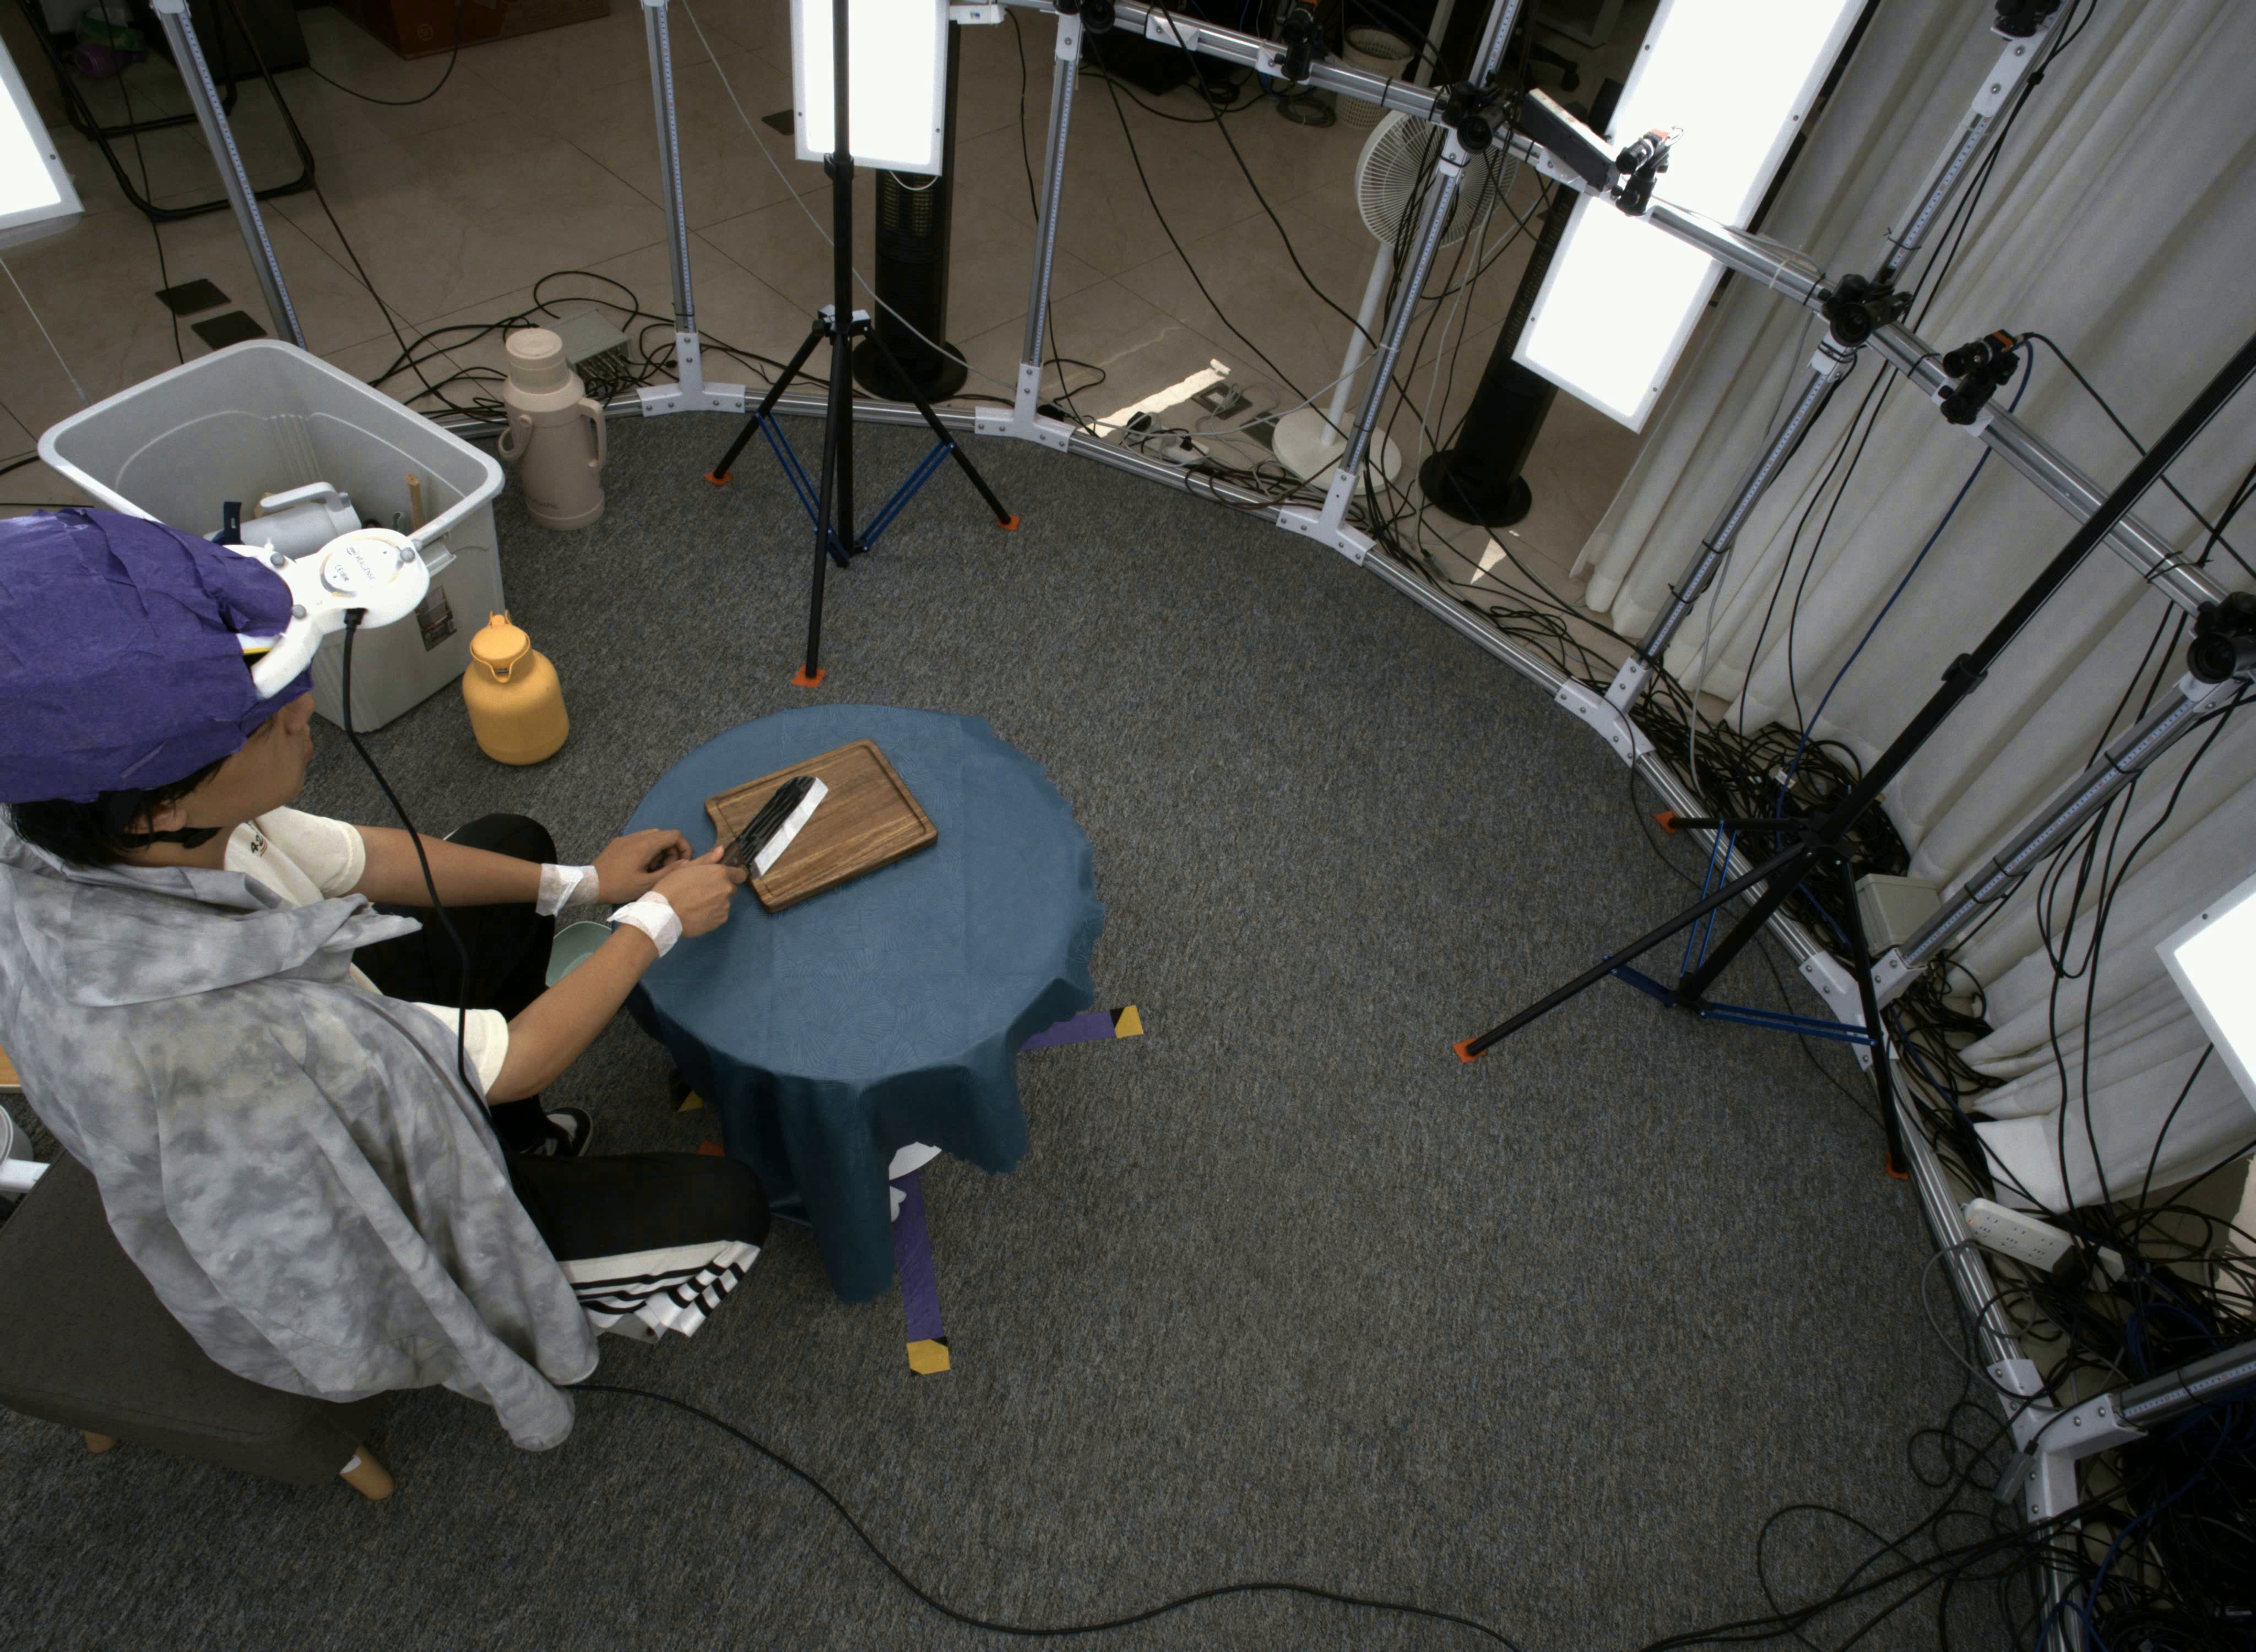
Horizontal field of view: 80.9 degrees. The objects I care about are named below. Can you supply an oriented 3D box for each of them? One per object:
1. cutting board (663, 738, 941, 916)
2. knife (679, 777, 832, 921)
[{"bbox_3d":[-0.442,0.012,1.699,0.353,0.023,0.196,-25,63,-28],"label":"cutting board"},{"bbox_3d":[-0.461,0.028,1.630,0.023,0.071,0.297,3,41,28],"label":"knife"}]
